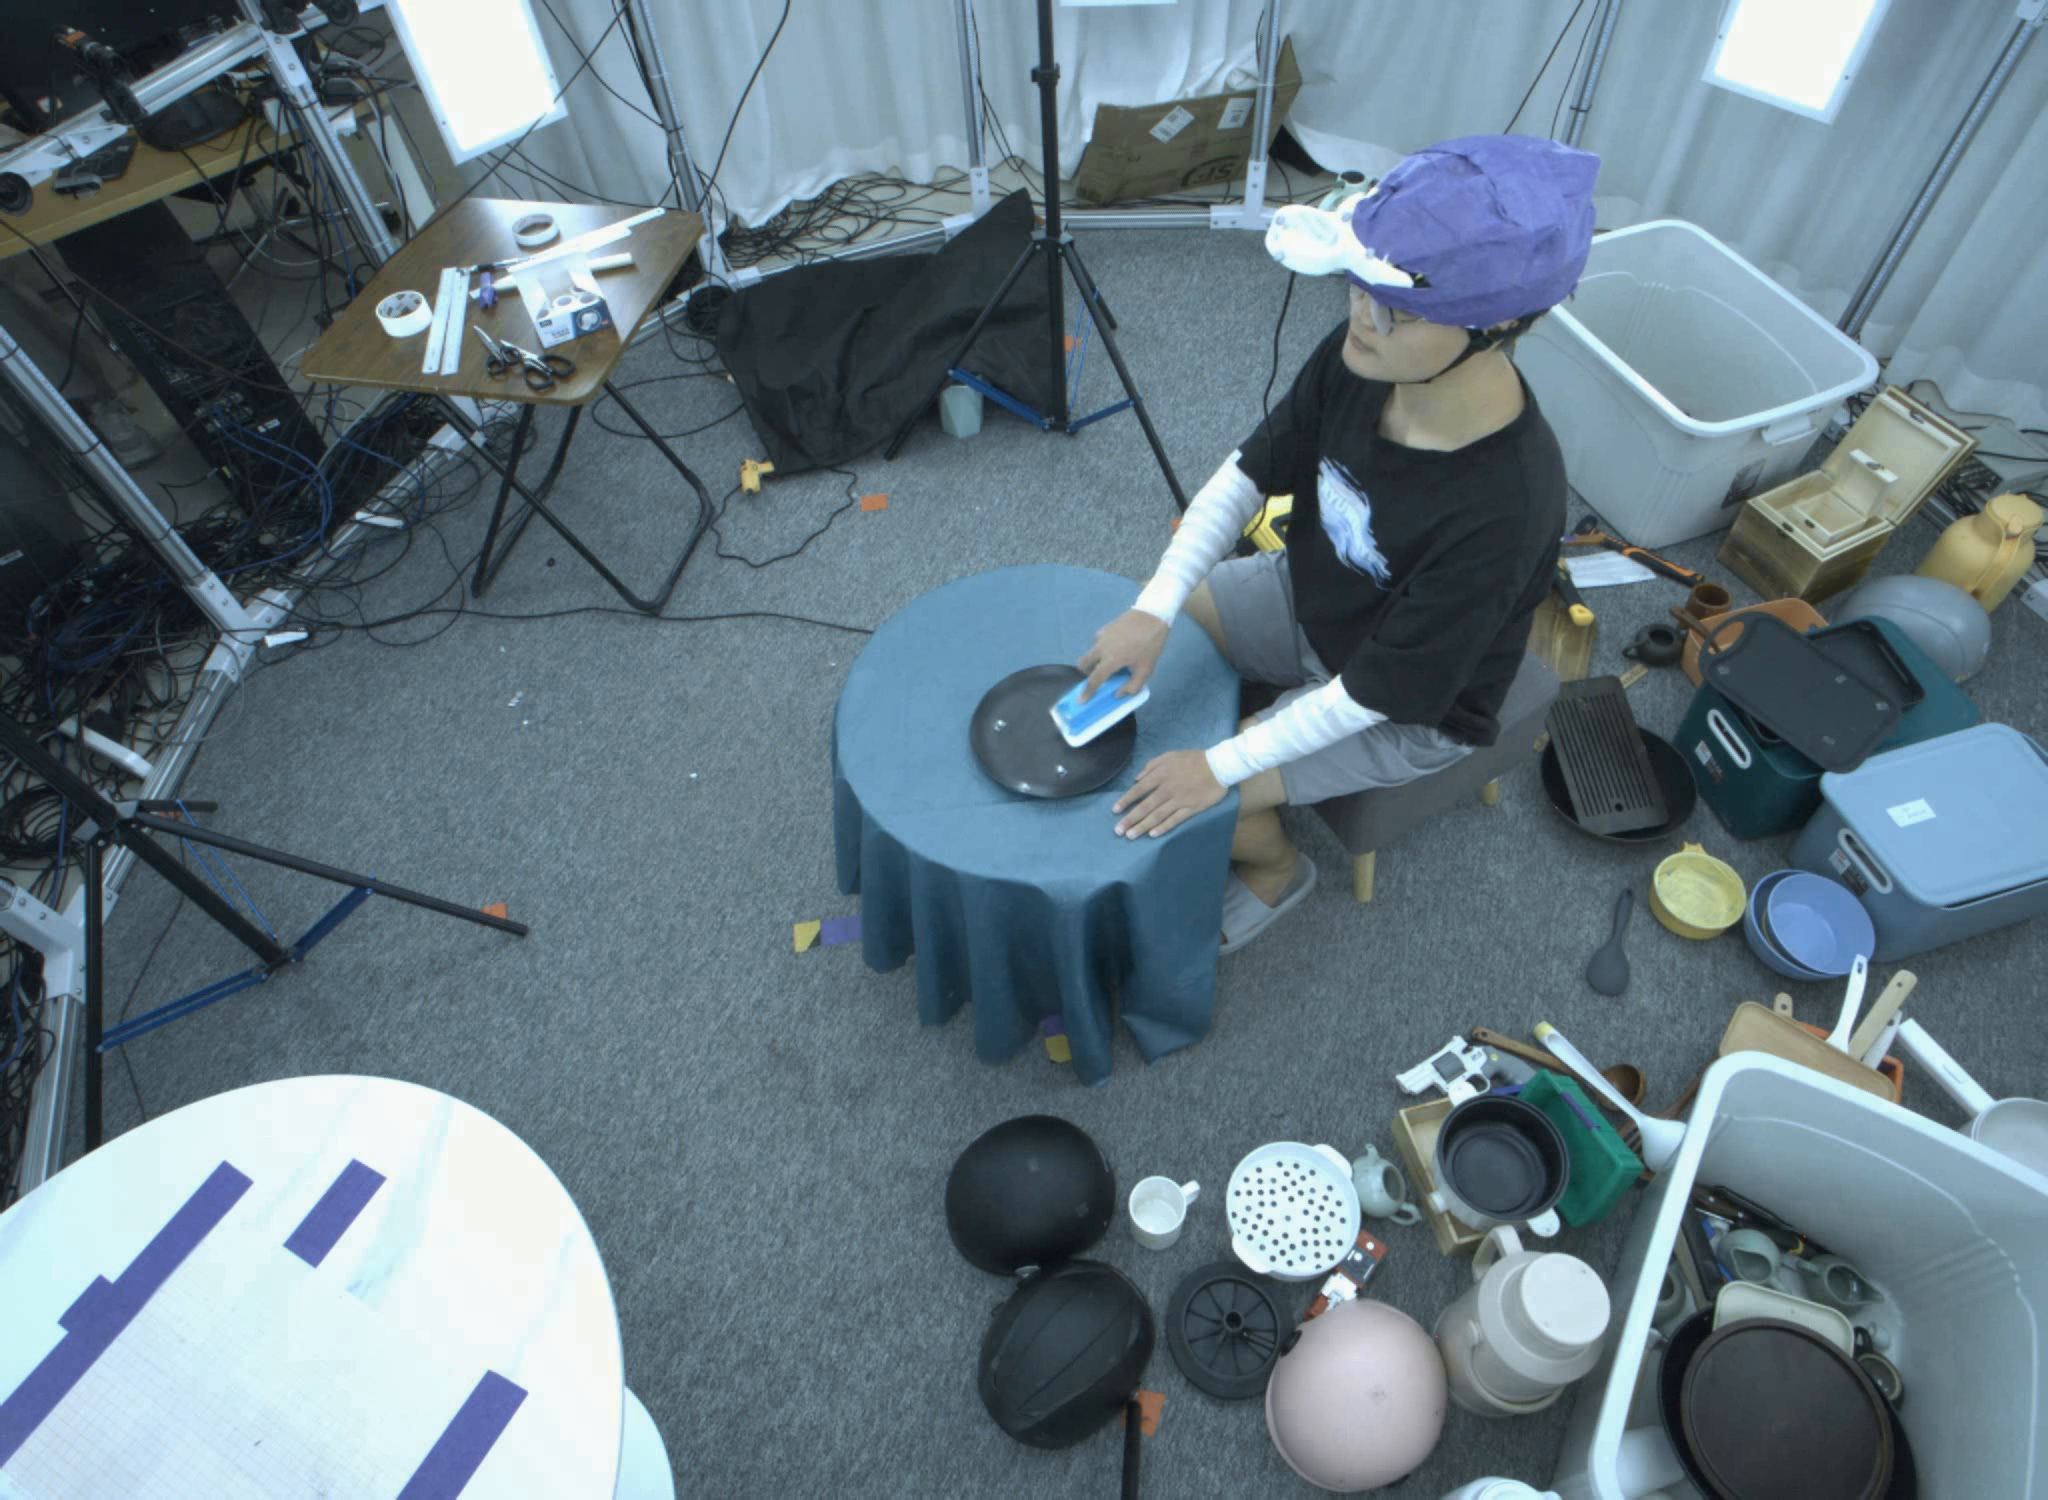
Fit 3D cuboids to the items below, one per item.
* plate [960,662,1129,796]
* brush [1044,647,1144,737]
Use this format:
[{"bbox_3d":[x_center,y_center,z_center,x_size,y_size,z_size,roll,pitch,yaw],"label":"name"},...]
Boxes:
[{"bbox_3d":[0.030,-0.029,1.783,0.244,0.024,0.242,0,54,2],"label":"plate"},{"bbox_3d":[0.096,-0.088,1.764,0.143,0.057,0.082,-36,63,7],"label":"brush"}]
